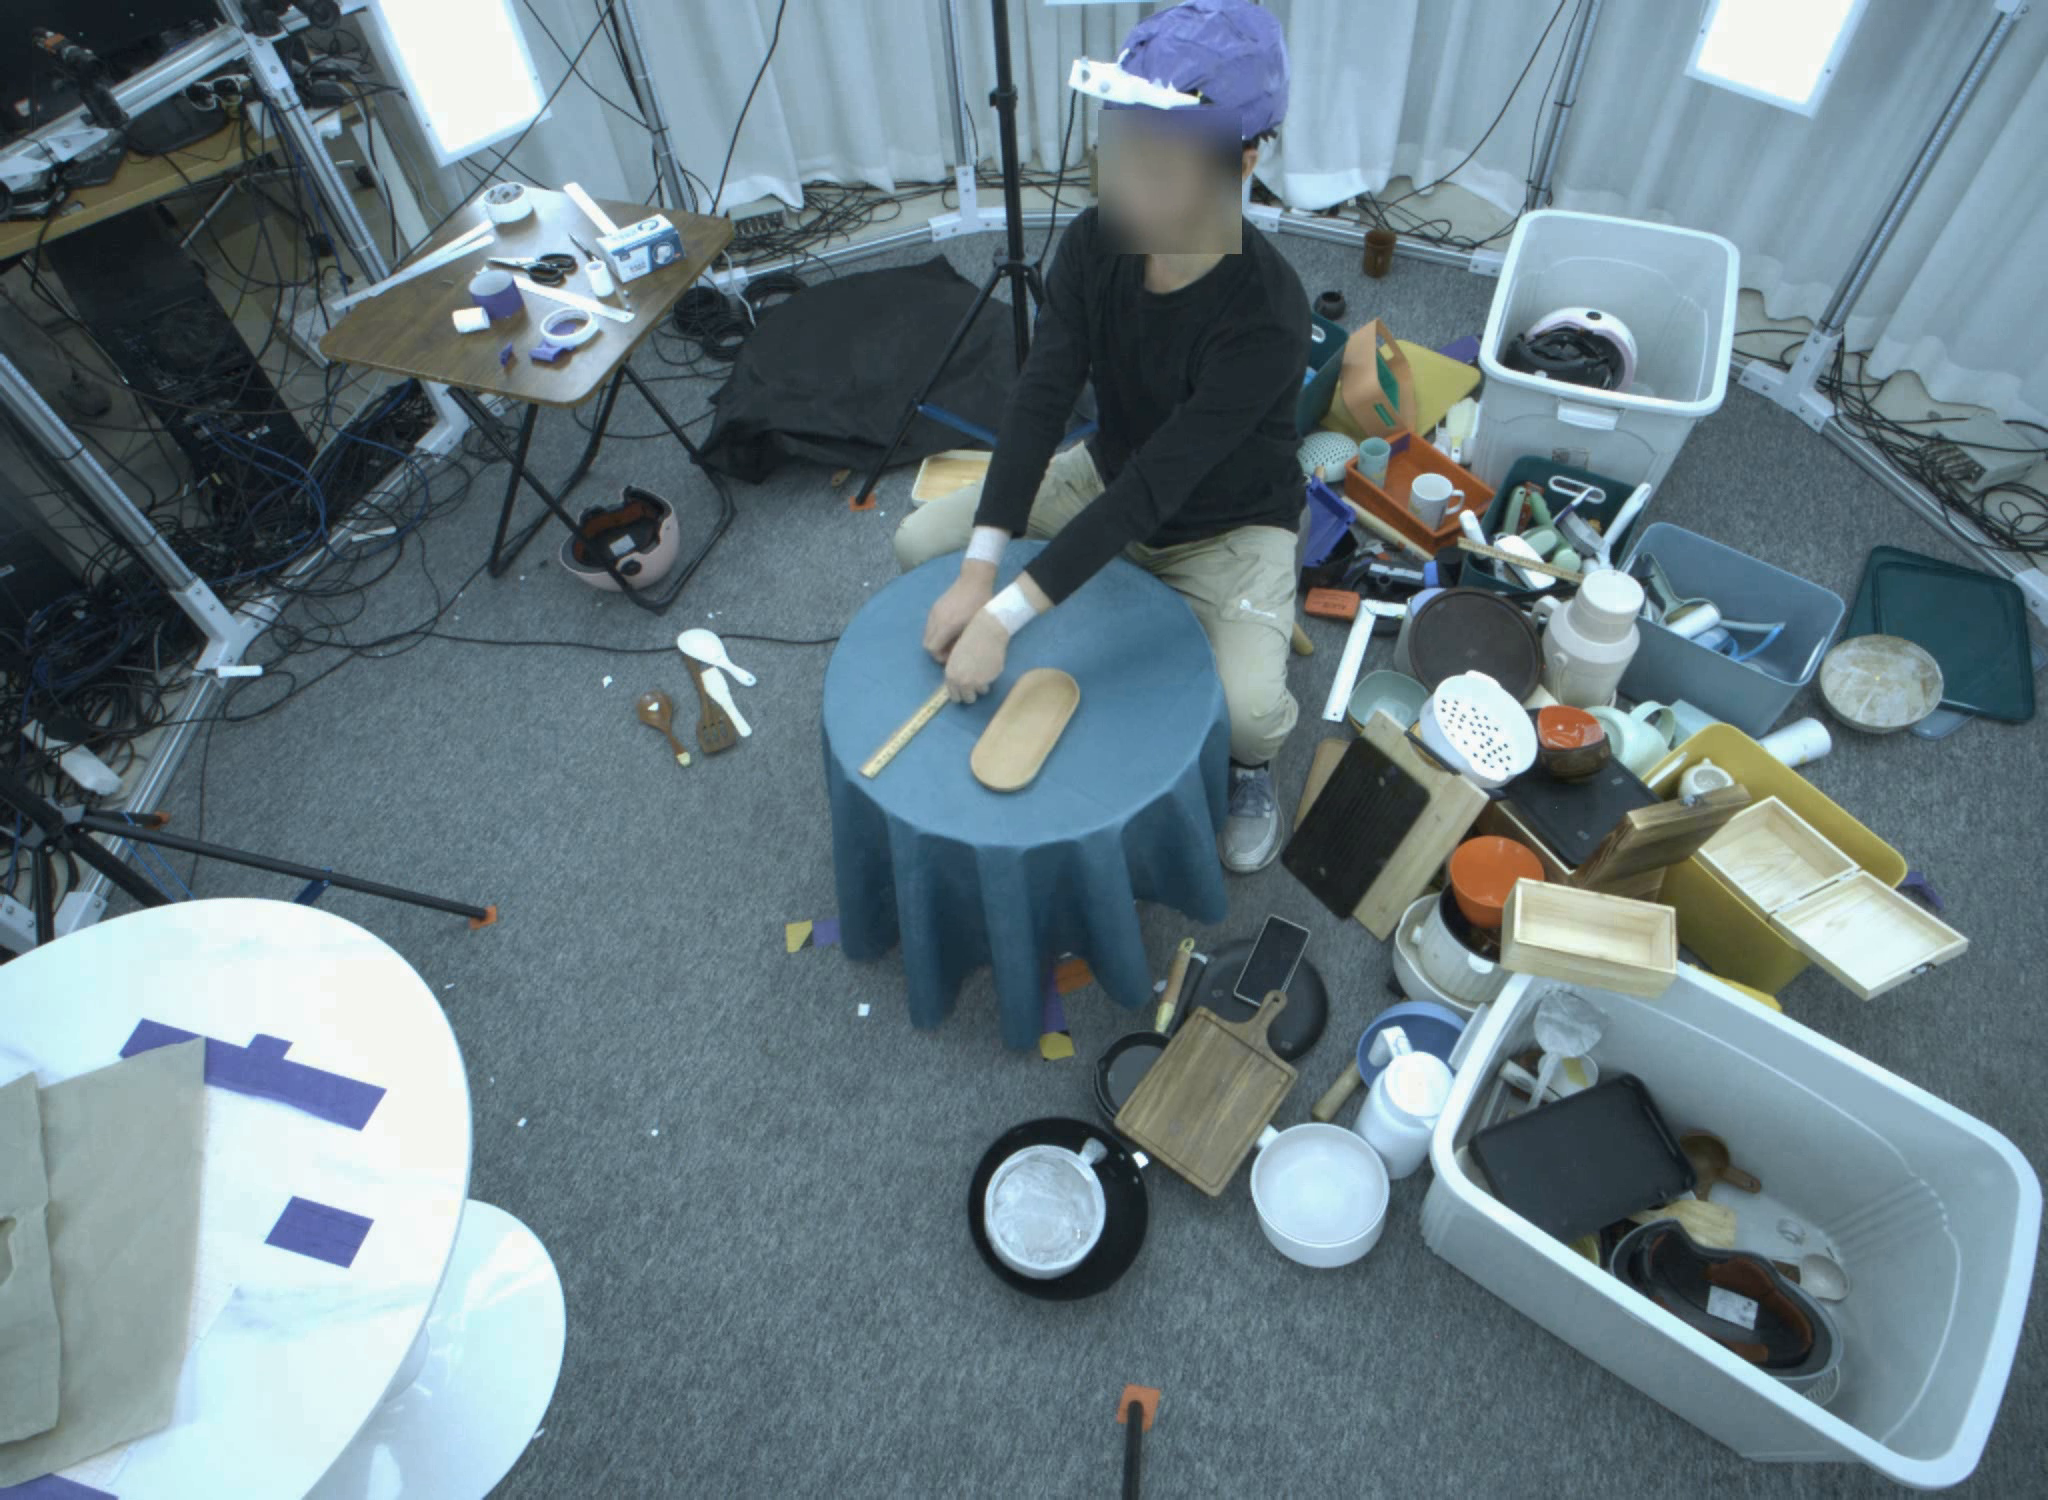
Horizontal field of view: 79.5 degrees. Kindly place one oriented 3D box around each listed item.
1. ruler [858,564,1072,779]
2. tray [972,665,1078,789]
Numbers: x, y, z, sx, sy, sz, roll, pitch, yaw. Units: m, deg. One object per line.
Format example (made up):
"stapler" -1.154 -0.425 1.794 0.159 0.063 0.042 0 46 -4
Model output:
"ruler" -0.081 -0.130 1.880 0.026 0.006 0.503 33 62 17
"tray" 0.003 -0.035 1.803 0.100 0.020 0.231 20 56 13
